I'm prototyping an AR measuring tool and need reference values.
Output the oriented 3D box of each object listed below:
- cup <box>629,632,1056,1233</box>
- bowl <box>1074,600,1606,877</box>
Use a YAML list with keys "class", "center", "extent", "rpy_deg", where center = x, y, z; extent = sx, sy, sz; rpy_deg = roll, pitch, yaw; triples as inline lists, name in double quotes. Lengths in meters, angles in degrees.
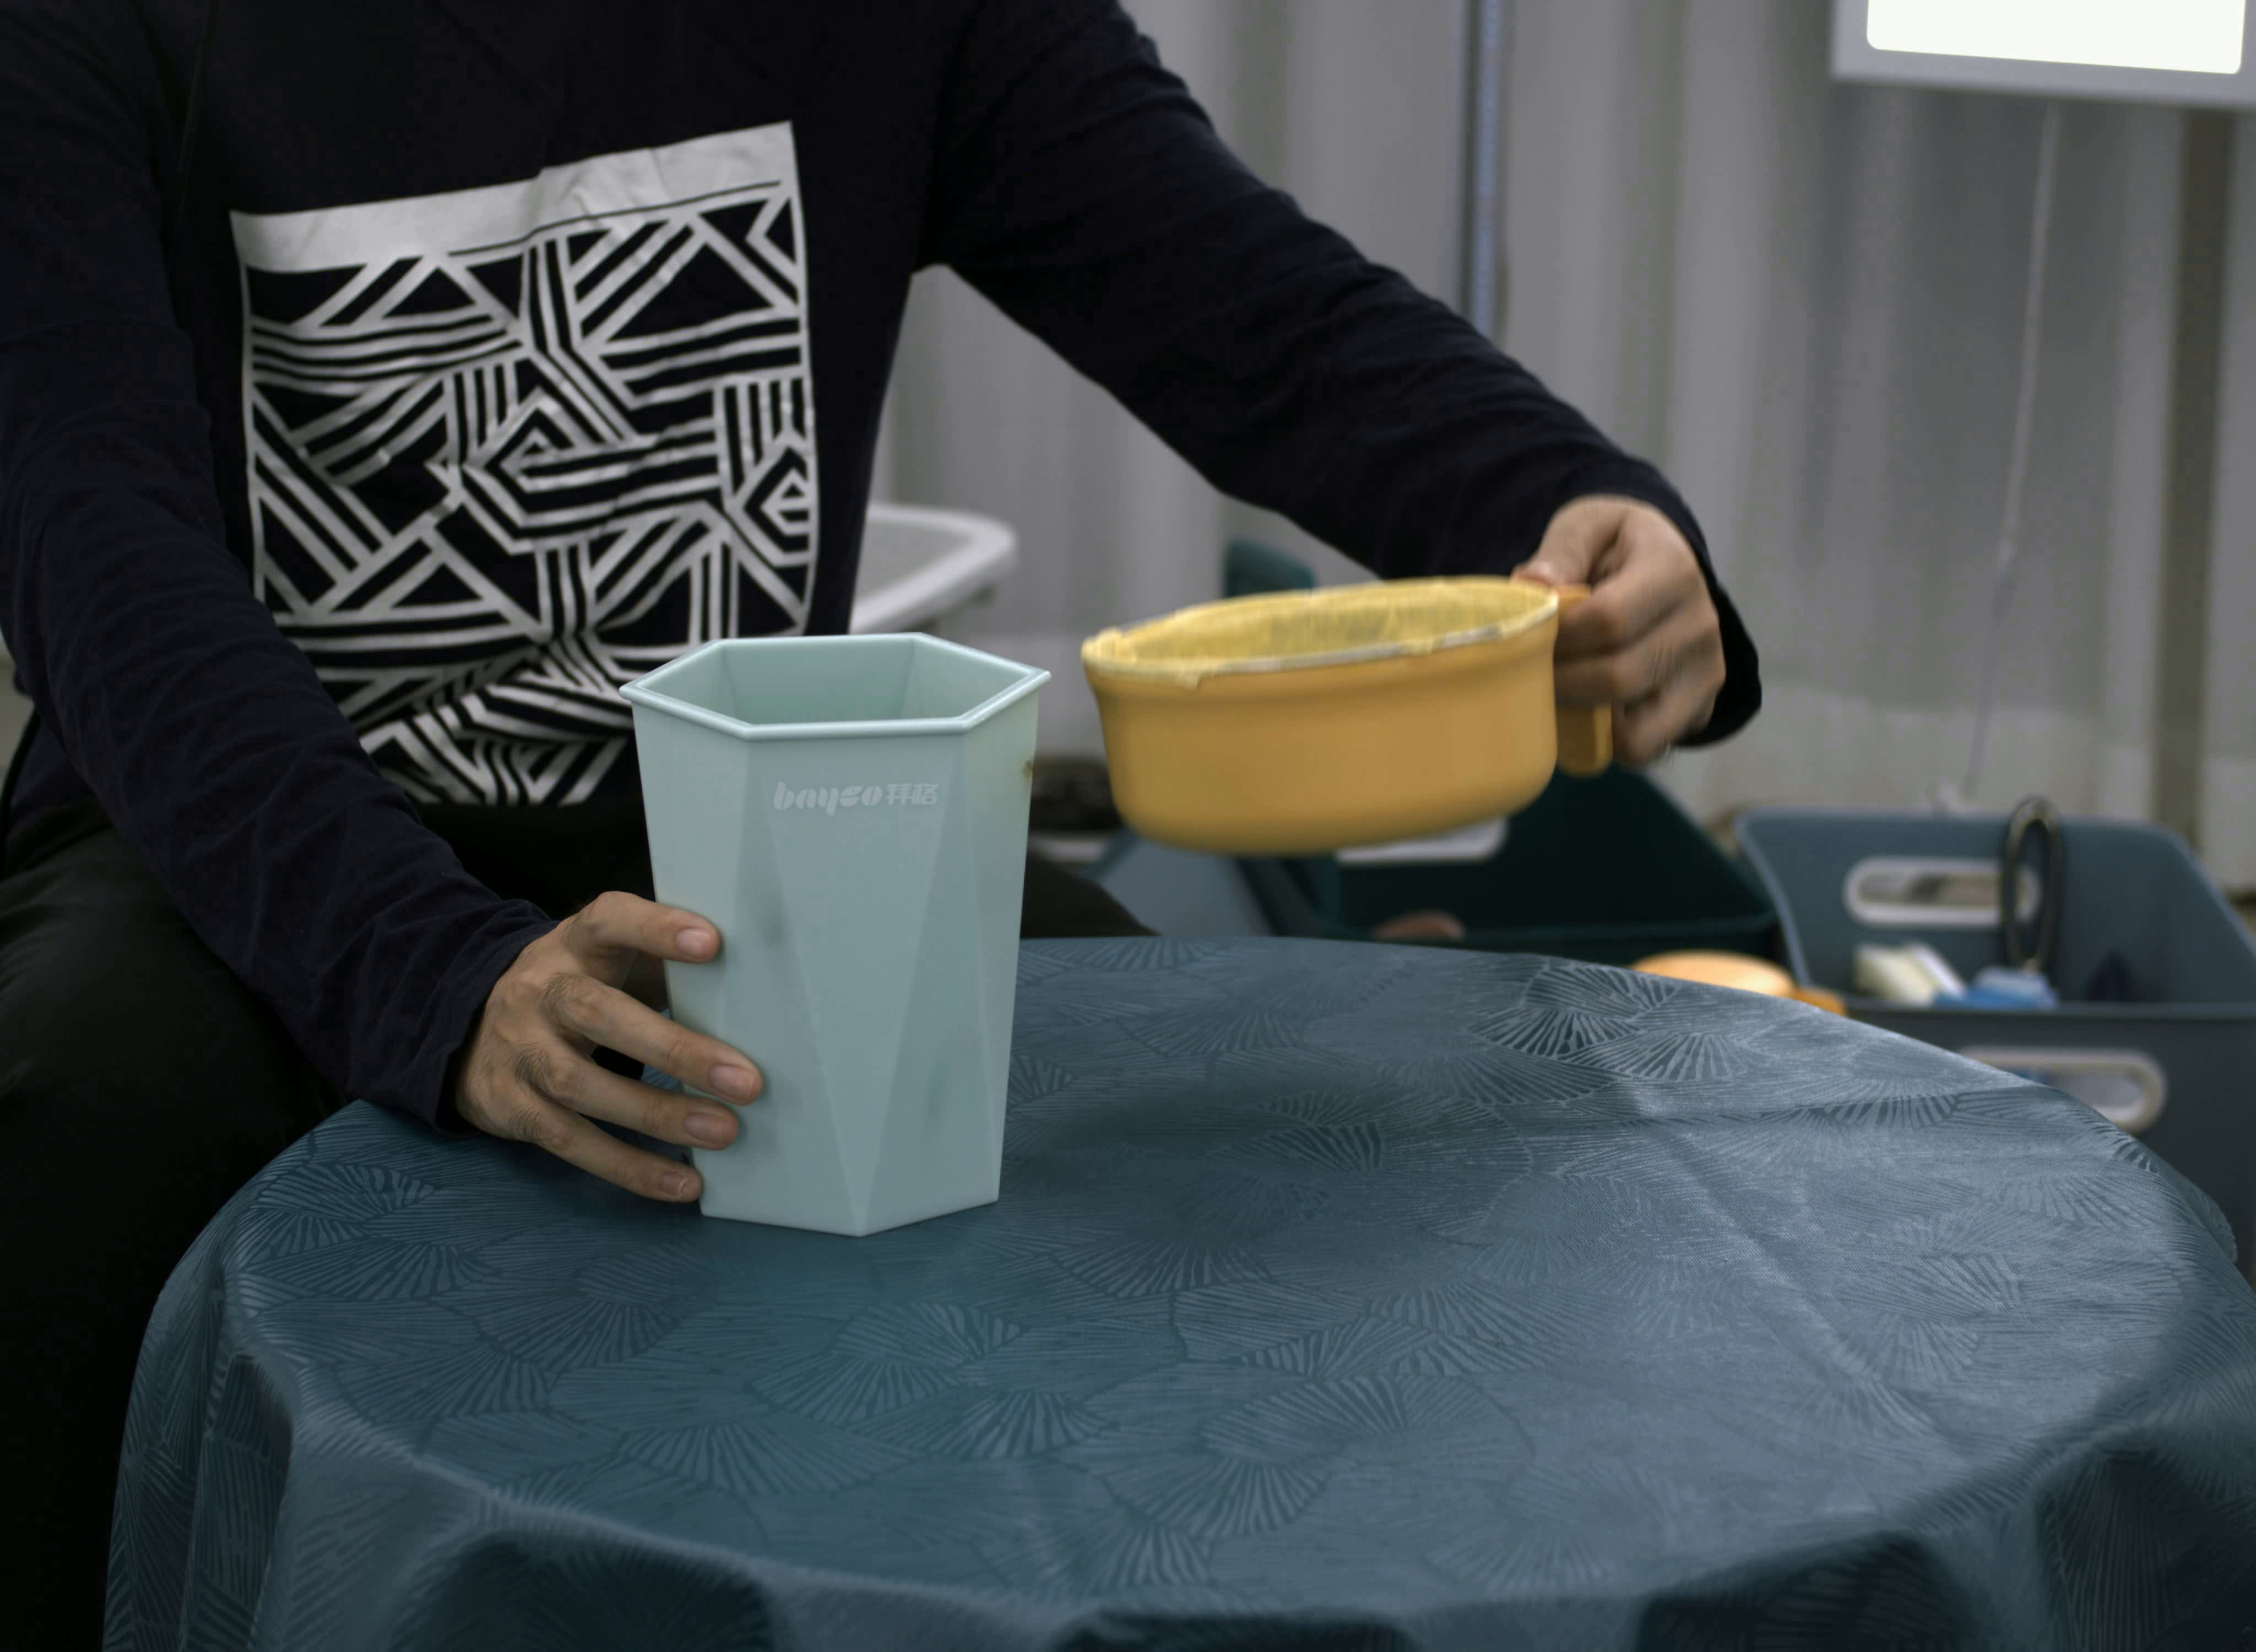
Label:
- class: "cup"
  center: [-0.088, 0.032, 1.606]
  extent: [0.131, 0.164, 0.114]
  rpy_deg: [-1, 14, -12]
- class: "bowl"
  center: [0.074, -0.029, 1.680]
  extent: [0.180, 0.075, 0.151]
  rpy_deg: [-14, 10, -35]
